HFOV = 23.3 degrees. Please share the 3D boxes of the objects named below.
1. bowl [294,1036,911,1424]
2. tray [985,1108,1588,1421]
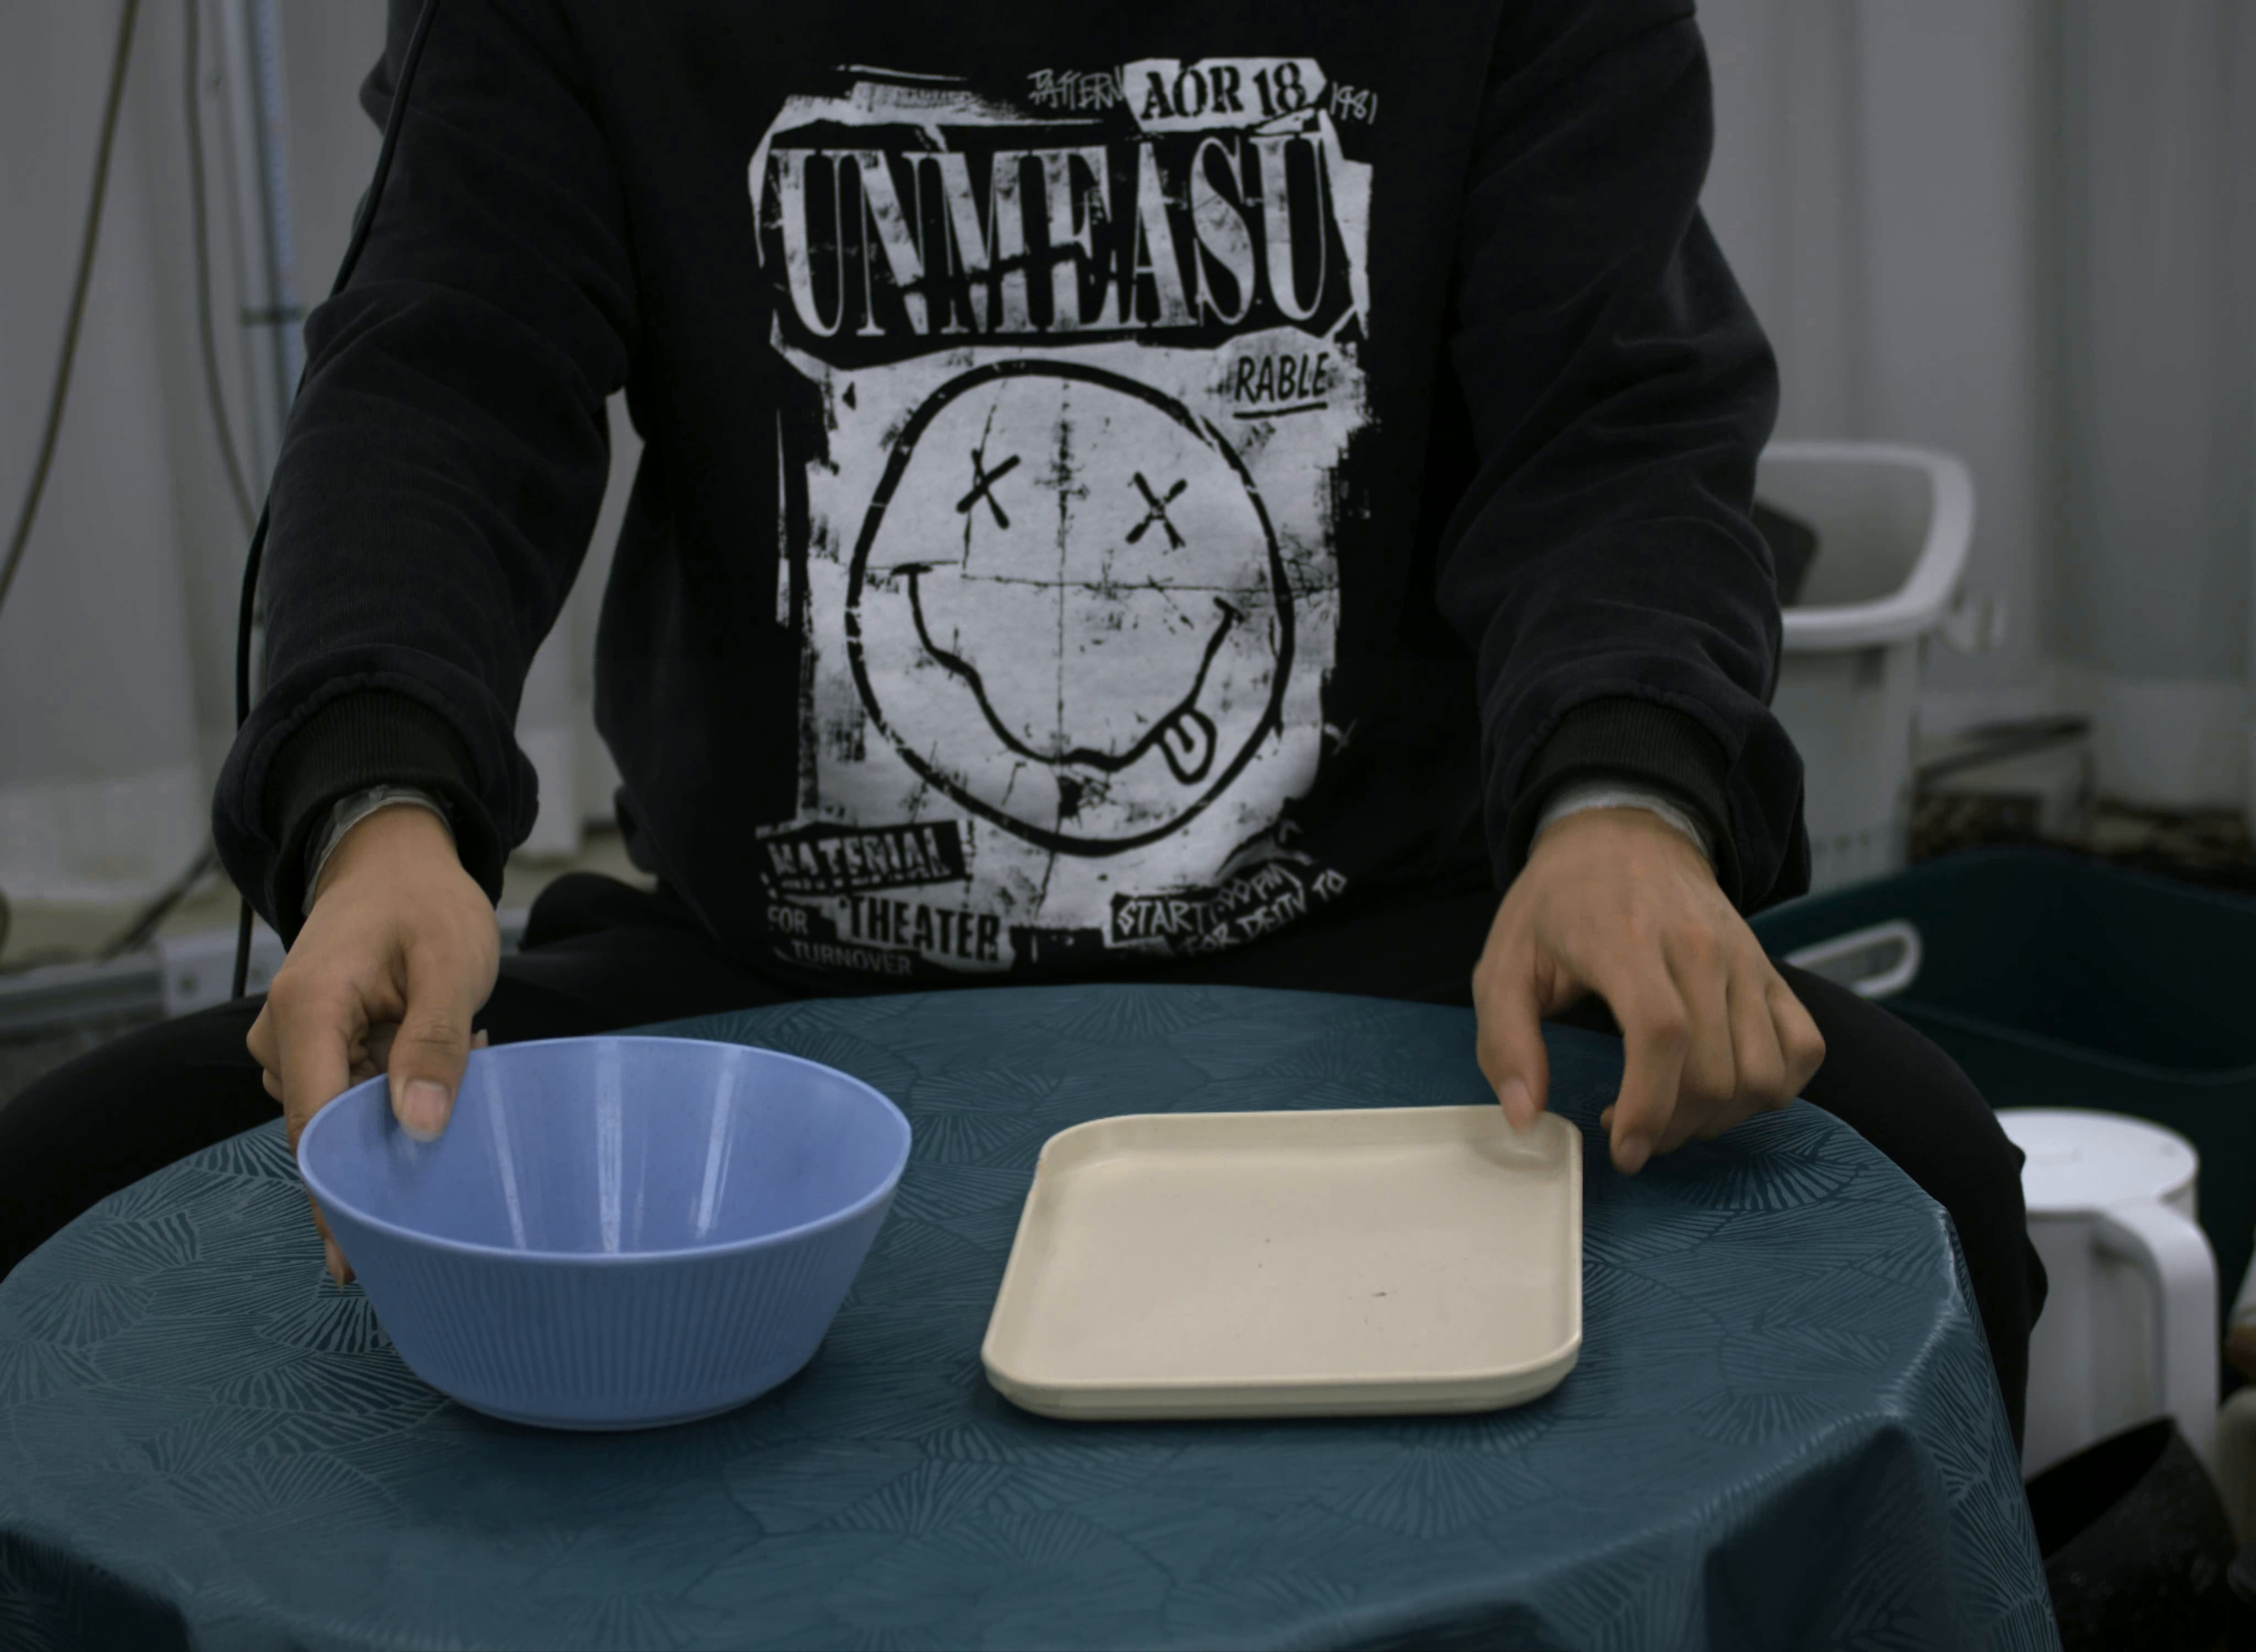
[{"bbox_3d":[-0.151,0.119,1.571,0.175,0.070,0.177,2,17,-1],"label":"bowl"},{"bbox_3d":[0.050,0.129,1.618,0.171,0.017,0.241,-1,15,5],"label":"tray"}]
